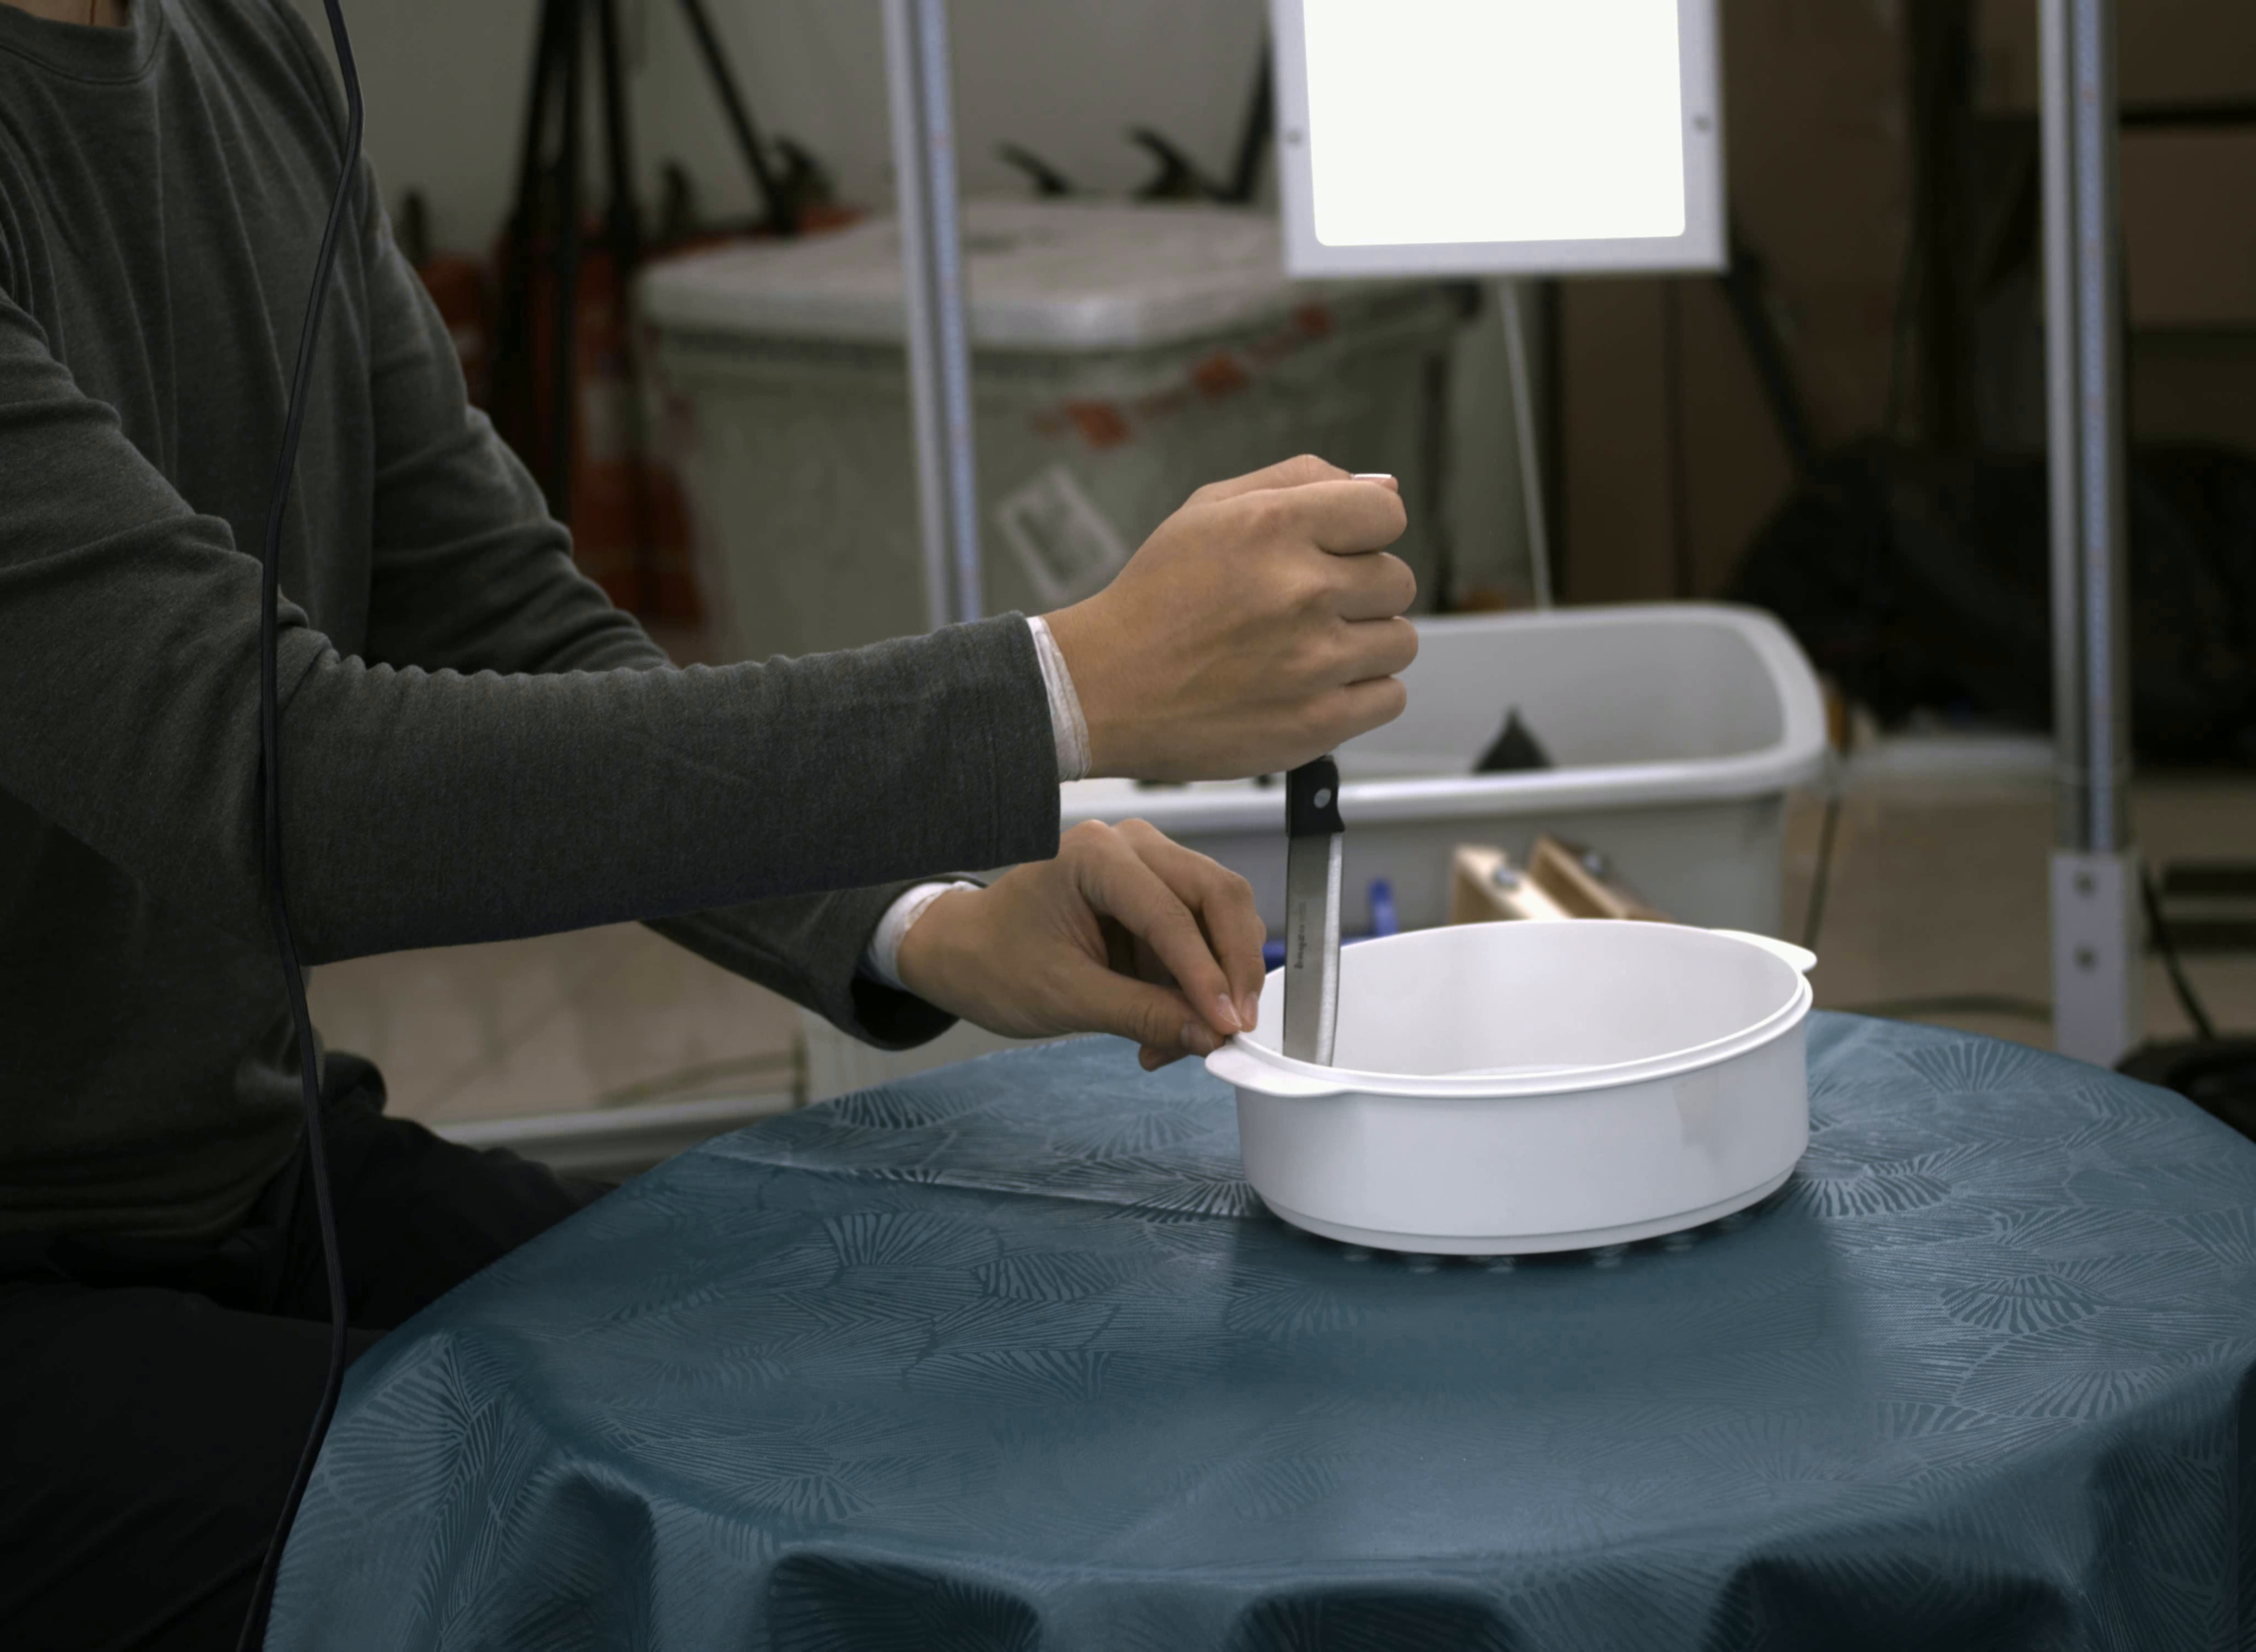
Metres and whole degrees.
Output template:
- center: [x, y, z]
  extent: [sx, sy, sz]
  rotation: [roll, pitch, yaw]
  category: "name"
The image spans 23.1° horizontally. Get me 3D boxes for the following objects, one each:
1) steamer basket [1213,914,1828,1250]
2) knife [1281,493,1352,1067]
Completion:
- center: [0.138, 0.087, 1.868]
  extent: [0.225, 0.069, 0.205]
  rotation: [-13, 15, -27]
  category: "steamer basket"
- center: [0.062, 0.008, 1.813]
  extent: [0.024, 0.239, 0.016]
  rotation: [-6, 16, -22]
  category: "knife"
